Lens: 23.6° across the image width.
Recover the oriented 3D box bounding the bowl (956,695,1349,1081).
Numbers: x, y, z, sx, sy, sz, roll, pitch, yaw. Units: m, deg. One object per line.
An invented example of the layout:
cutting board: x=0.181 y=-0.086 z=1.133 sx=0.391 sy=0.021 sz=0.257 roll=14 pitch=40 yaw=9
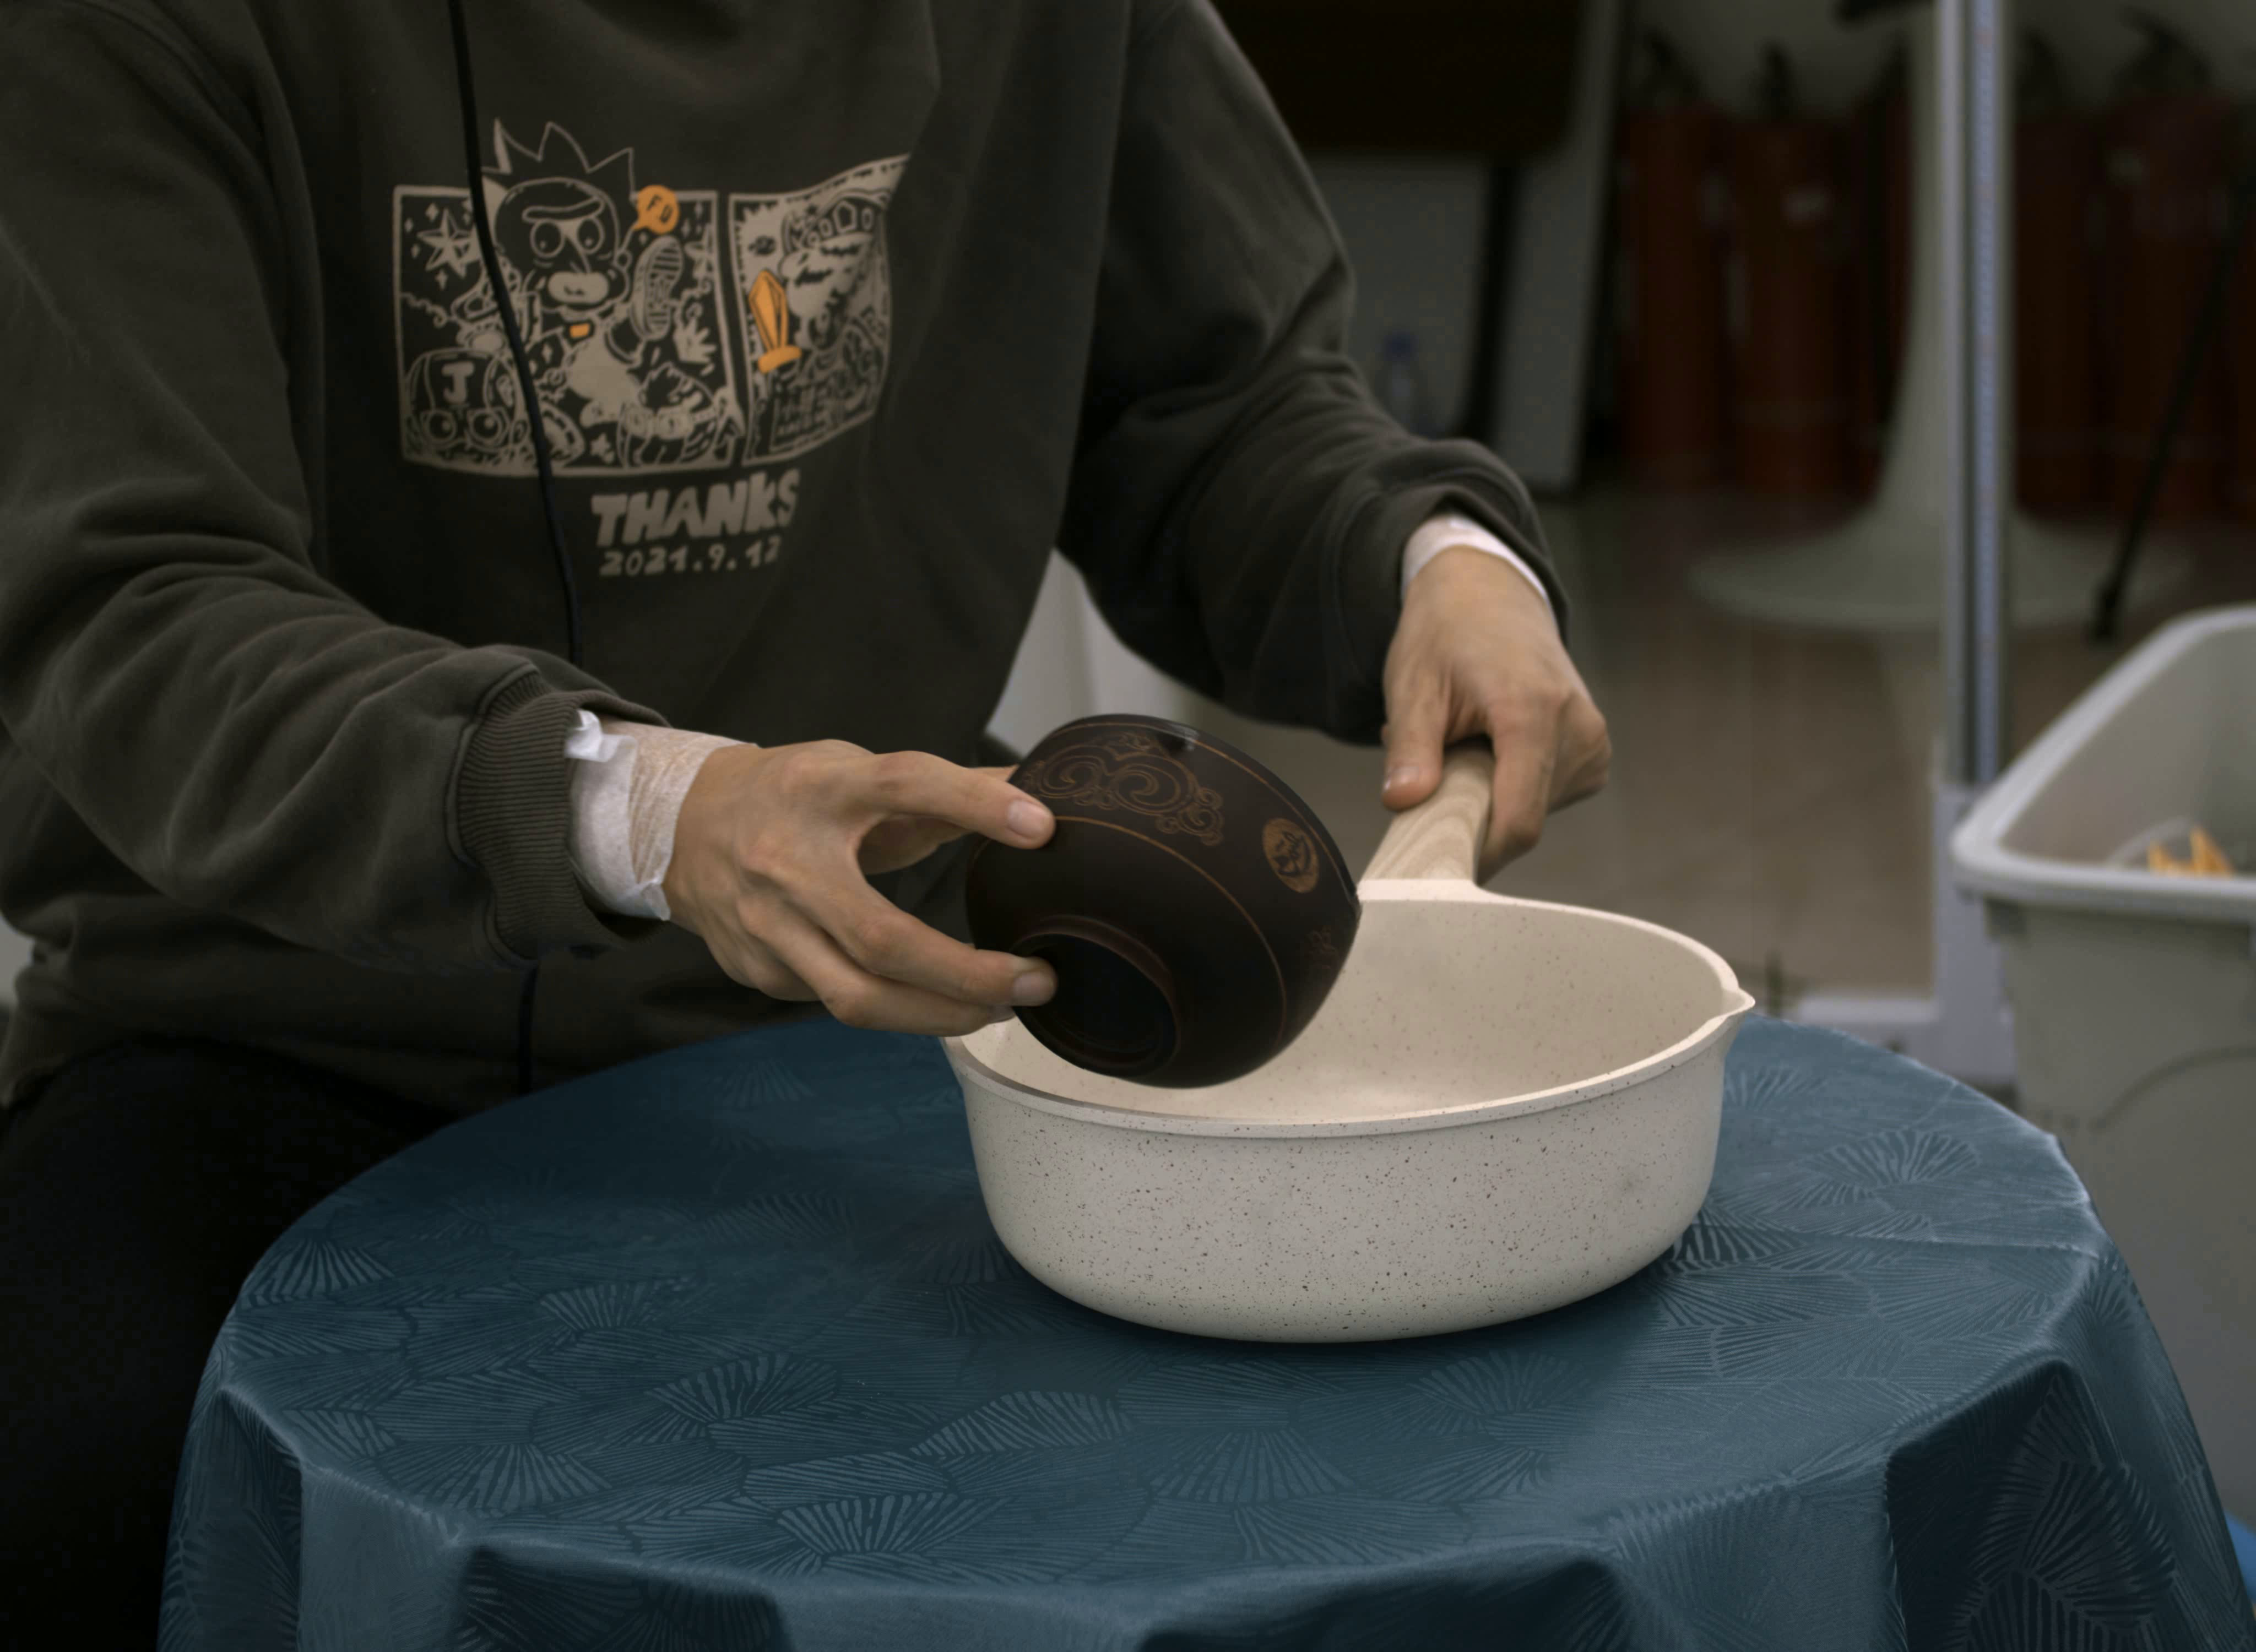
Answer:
bowl: x=0.001 y=0.028 z=1.597 sx=0.118 sy=0.118 sz=0.069 roll=4 pitch=42 yaw=30

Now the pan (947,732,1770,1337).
pan: x=0.092 y=0.065 z=1.776 sx=0.262 sy=0.103 sz=0.432 roll=-3 pitch=13 yaw=13
